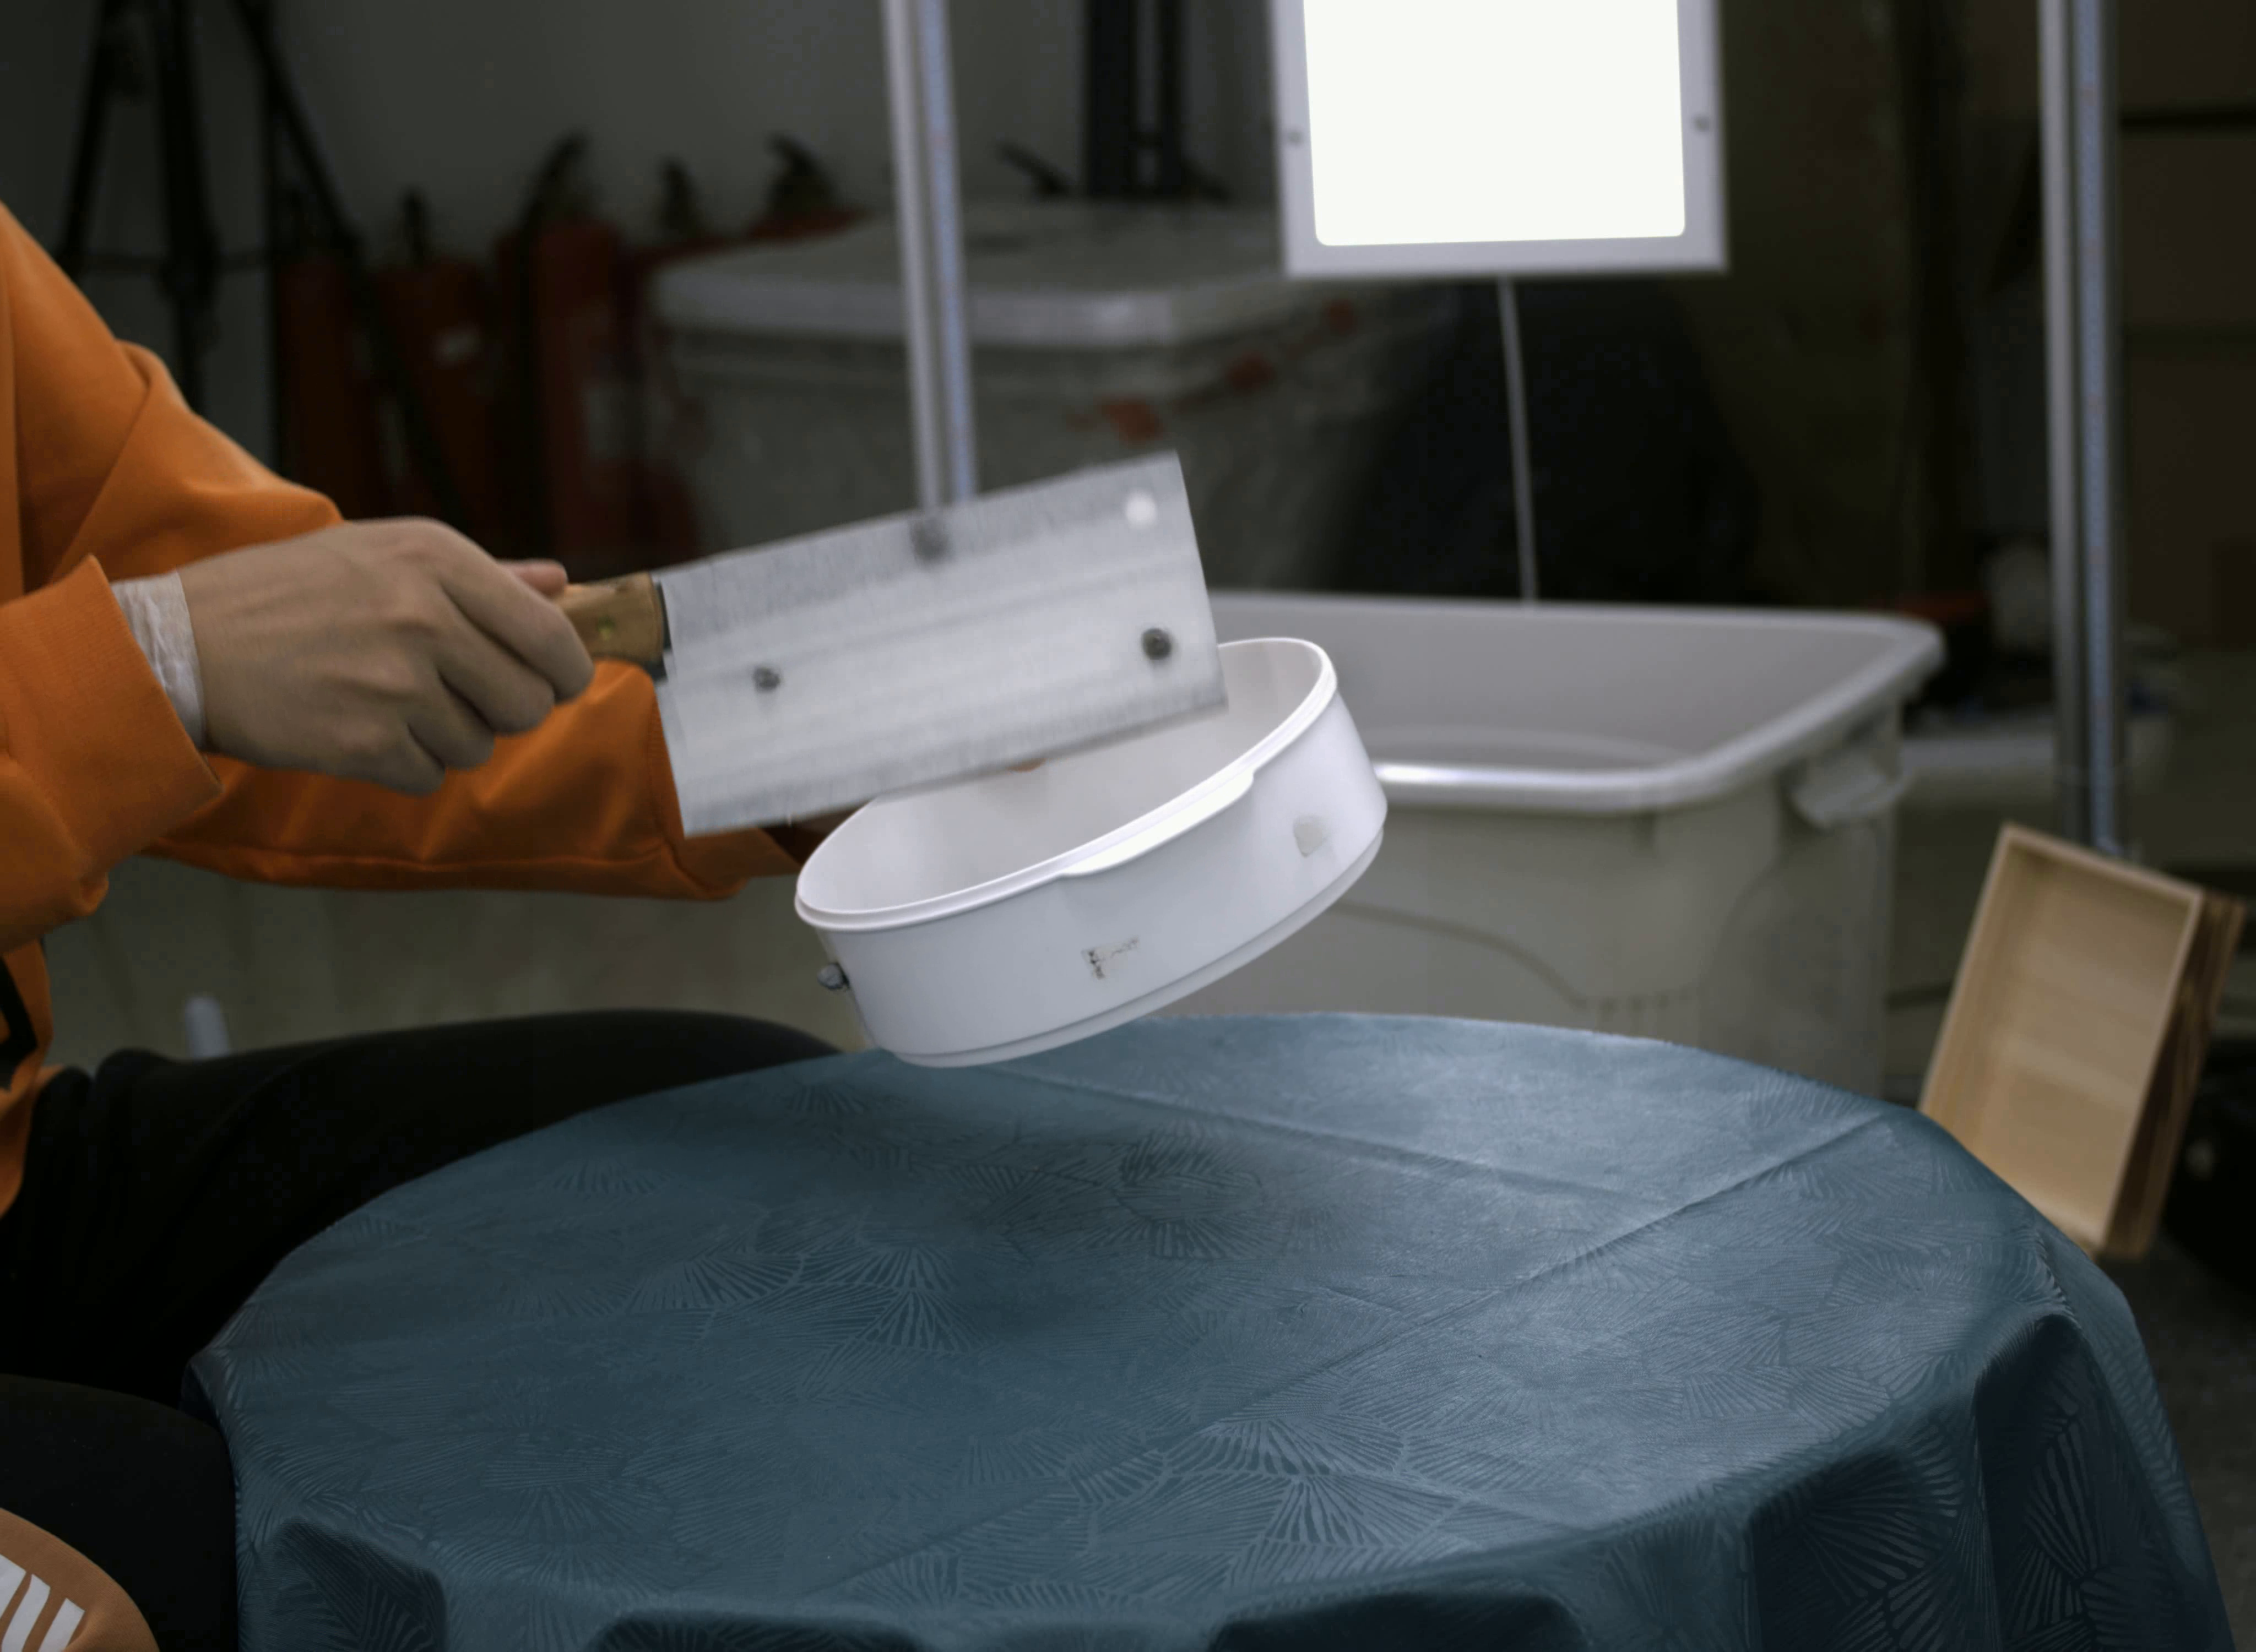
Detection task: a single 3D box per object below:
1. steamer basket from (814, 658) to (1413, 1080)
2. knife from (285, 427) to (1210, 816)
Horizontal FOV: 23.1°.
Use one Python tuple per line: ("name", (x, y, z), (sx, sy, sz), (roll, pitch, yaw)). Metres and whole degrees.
("steamer basket", (-0.002, 0.015, 1.851), (0.199, 0.069, 0.233), (-26, 17, -14))
("knife", (-0.122, -0.055, 1.828), (0.303, 0.093, 0.021), (-14, 13, -5))
